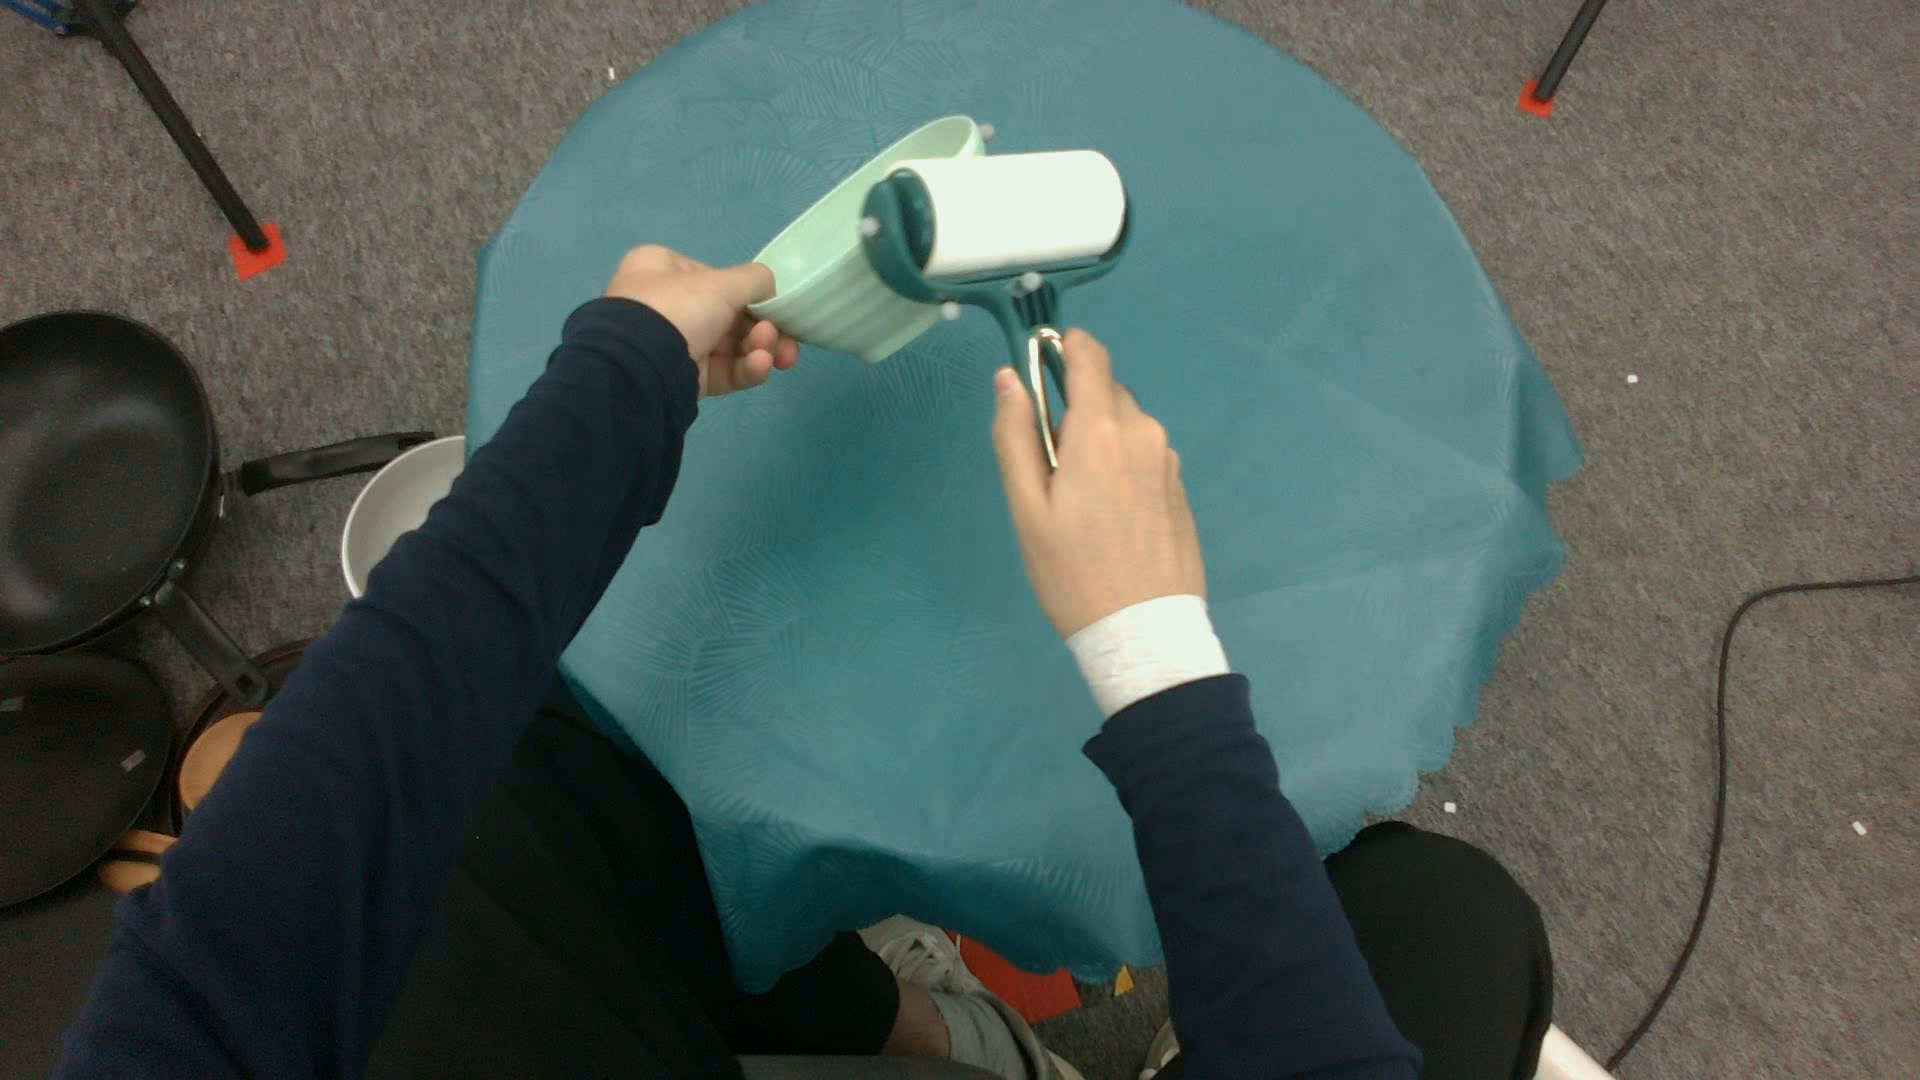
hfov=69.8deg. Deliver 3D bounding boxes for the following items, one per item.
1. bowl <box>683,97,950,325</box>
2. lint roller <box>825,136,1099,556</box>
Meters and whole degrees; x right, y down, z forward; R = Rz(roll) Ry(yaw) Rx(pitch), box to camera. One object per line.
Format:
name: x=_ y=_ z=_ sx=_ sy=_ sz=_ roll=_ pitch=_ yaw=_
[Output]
bowl: x=-0.057 y=-0.150 z=0.656 sx=0.152 sy=0.151 sz=0.058 roll=-37 pitch=108 yaw=-20
lint roller: x=0.023 y=-0.083 z=0.583 sx=0.135 sy=0.048 sz=0.180 roll=-16 pitch=84 yaw=-36
